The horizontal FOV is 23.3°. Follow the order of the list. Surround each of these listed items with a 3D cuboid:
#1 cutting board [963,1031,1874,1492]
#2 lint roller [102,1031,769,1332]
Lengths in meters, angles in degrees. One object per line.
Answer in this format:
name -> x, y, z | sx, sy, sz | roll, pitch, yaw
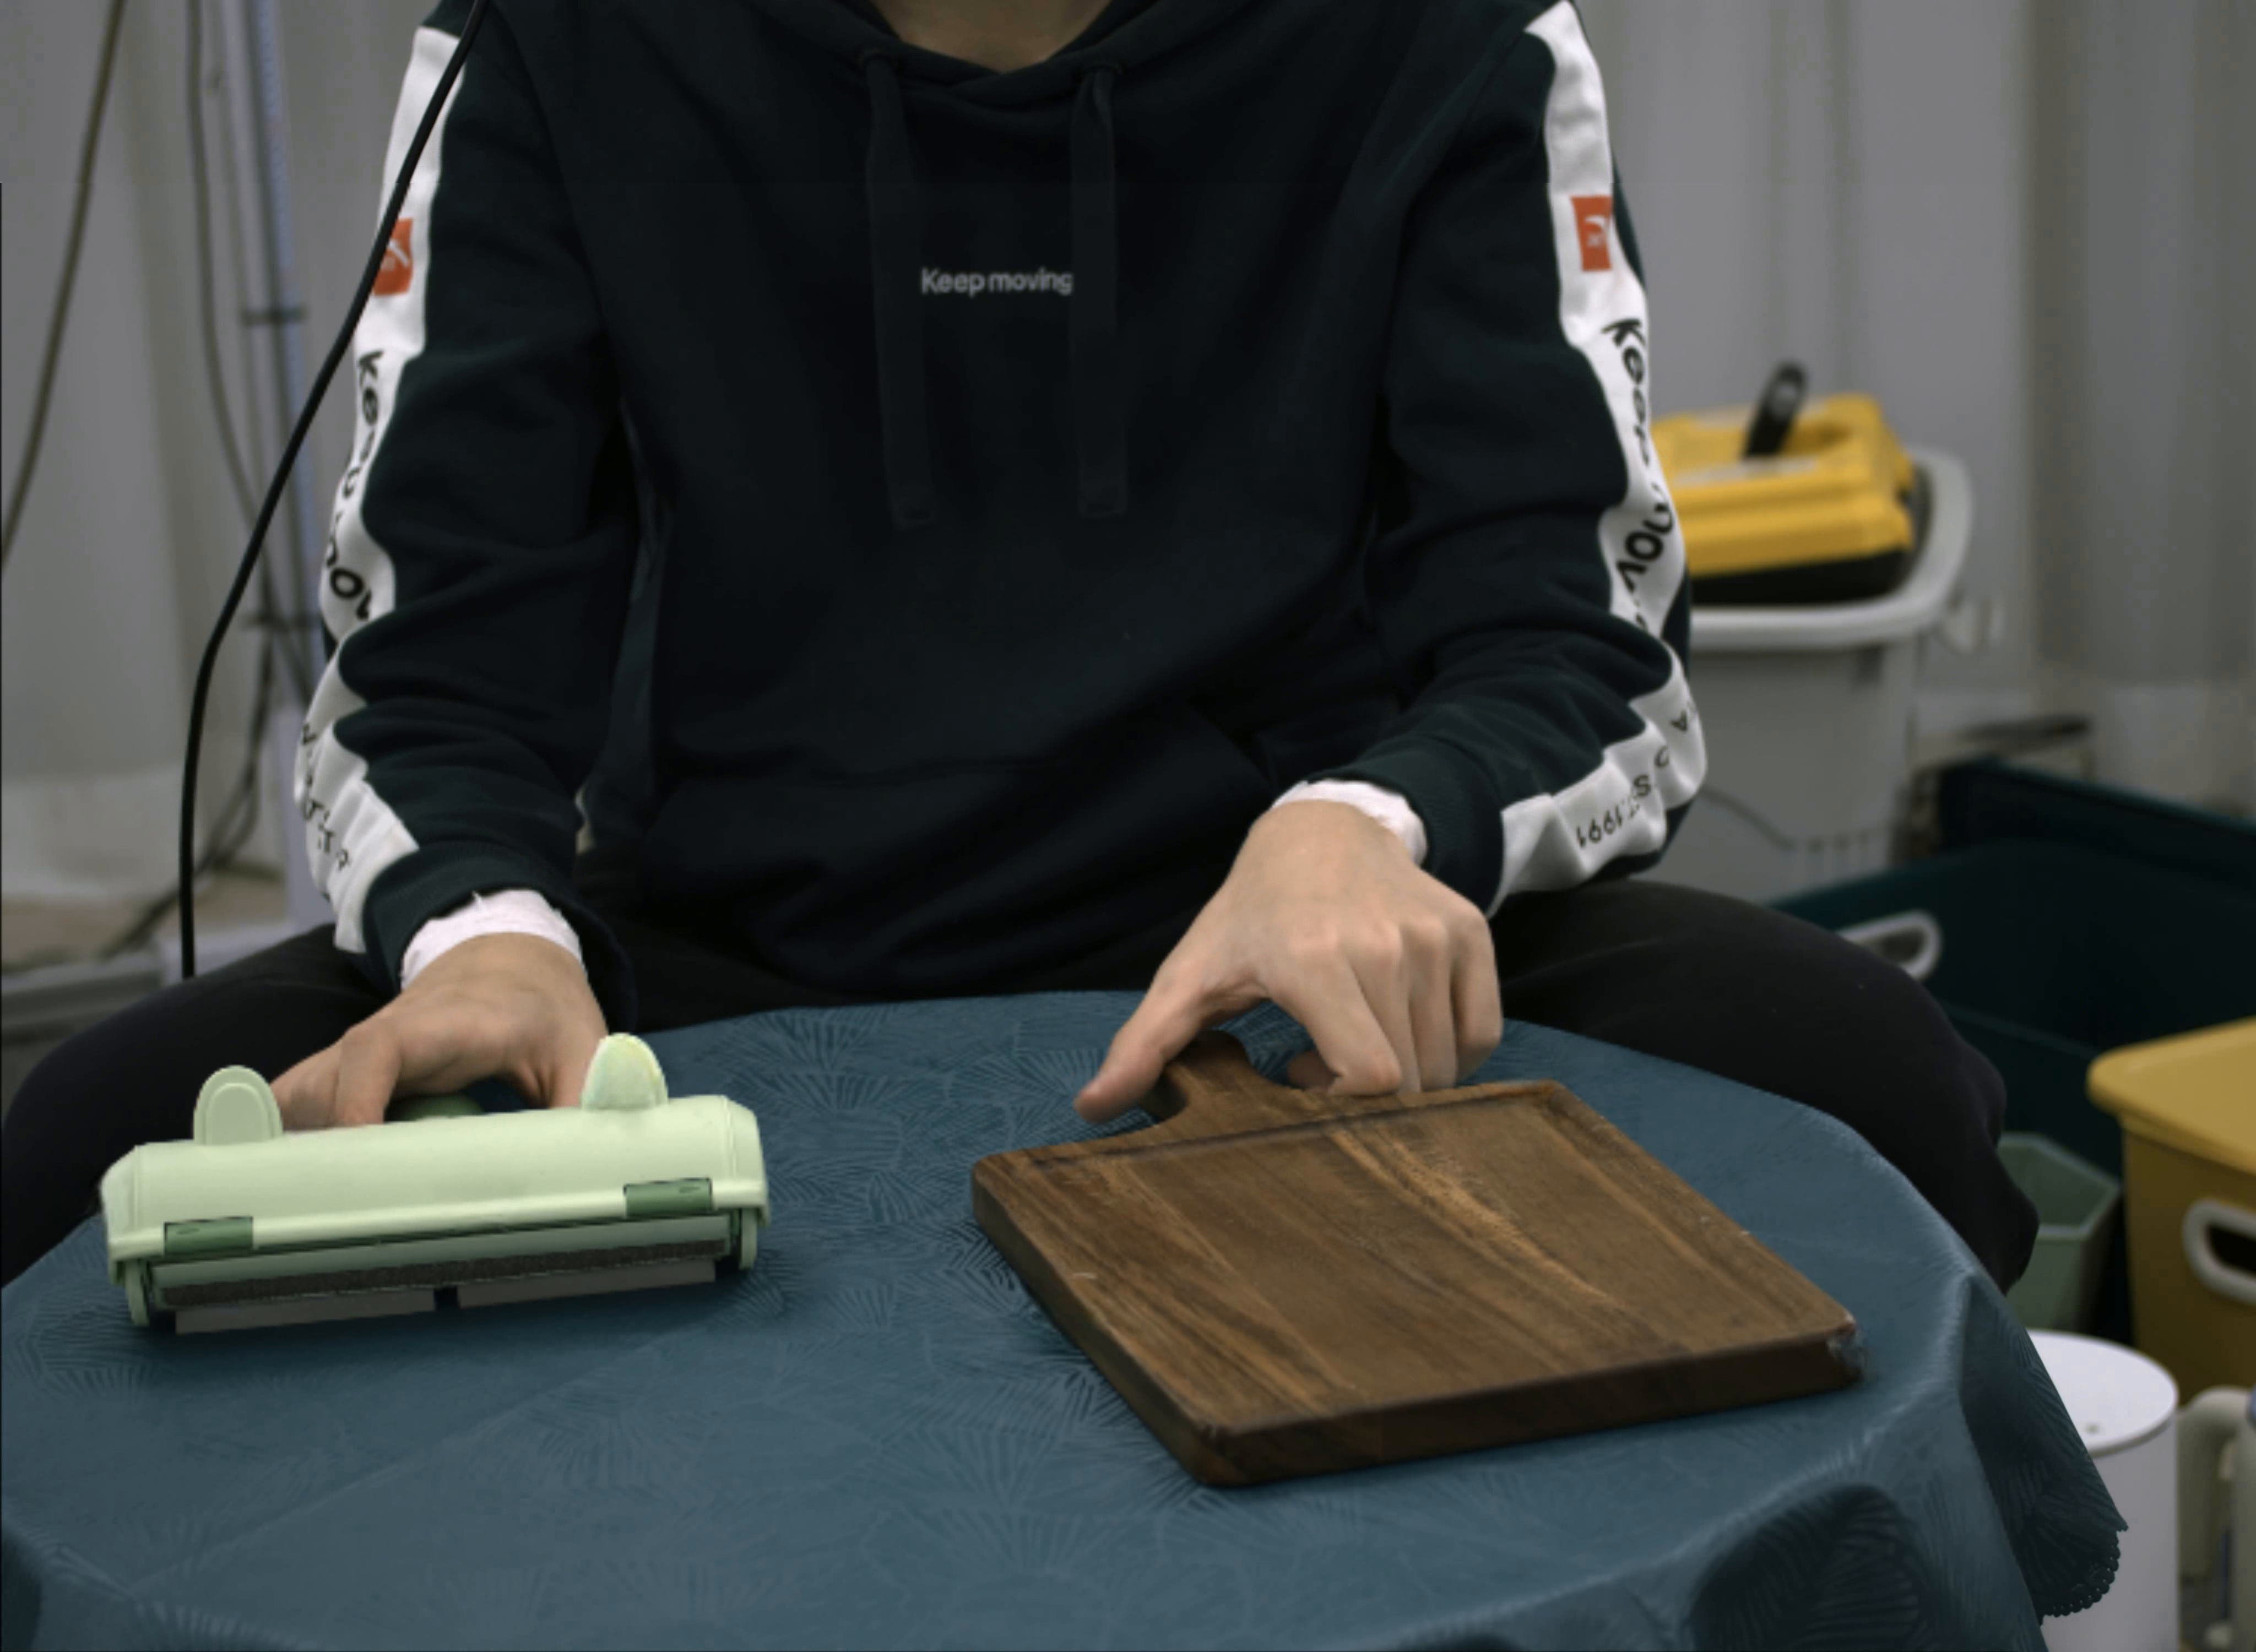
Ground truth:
cutting board -> 0.064, 0.118, 1.649 | 0.200, 0.023, 0.355 | -7, 15, -16
lint roller -> -0.216, 0.092, 1.696 | 0.198, 0.082, 0.185 | -5, 19, -7
